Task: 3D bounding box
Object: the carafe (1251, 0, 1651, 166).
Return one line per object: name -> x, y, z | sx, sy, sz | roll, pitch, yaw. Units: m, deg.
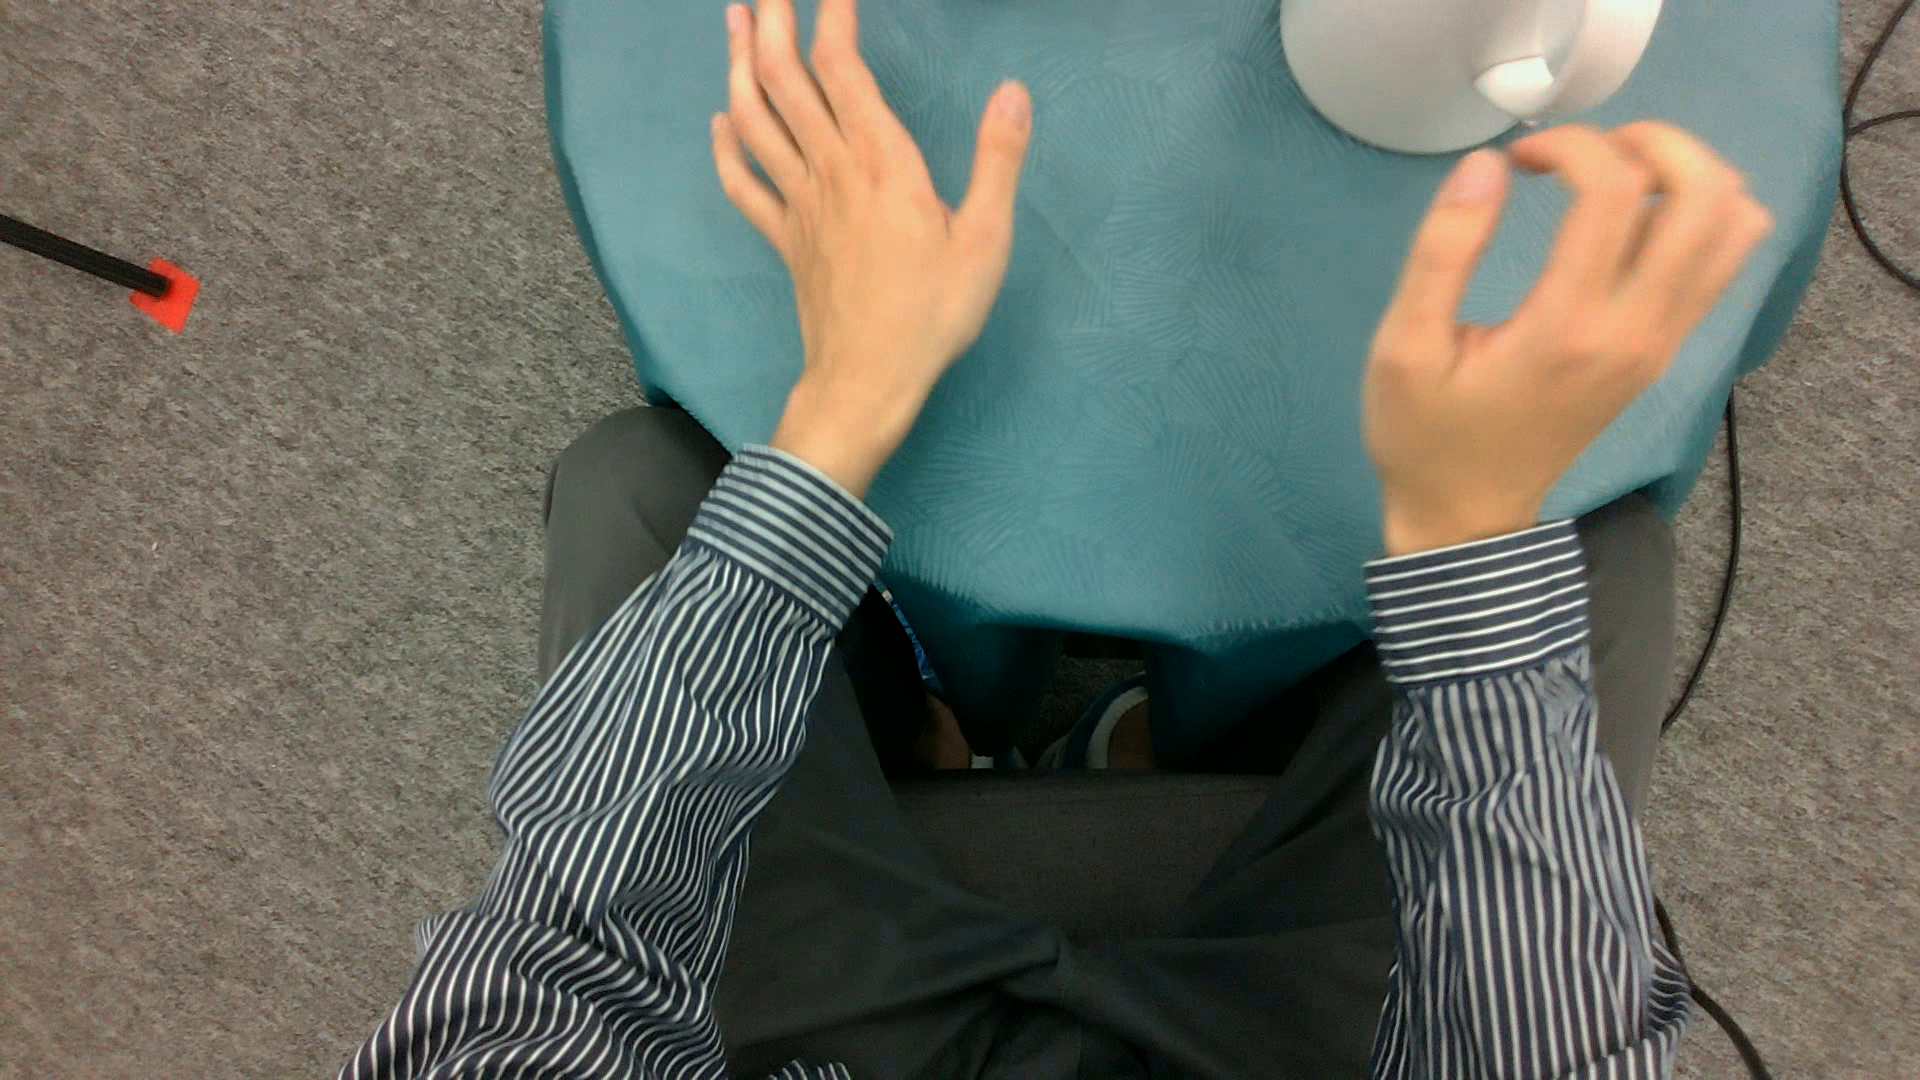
carafe -> 0.201, -0.237, 0.522 | 0.132, 0.248, 0.168 | -17, 81, 1
